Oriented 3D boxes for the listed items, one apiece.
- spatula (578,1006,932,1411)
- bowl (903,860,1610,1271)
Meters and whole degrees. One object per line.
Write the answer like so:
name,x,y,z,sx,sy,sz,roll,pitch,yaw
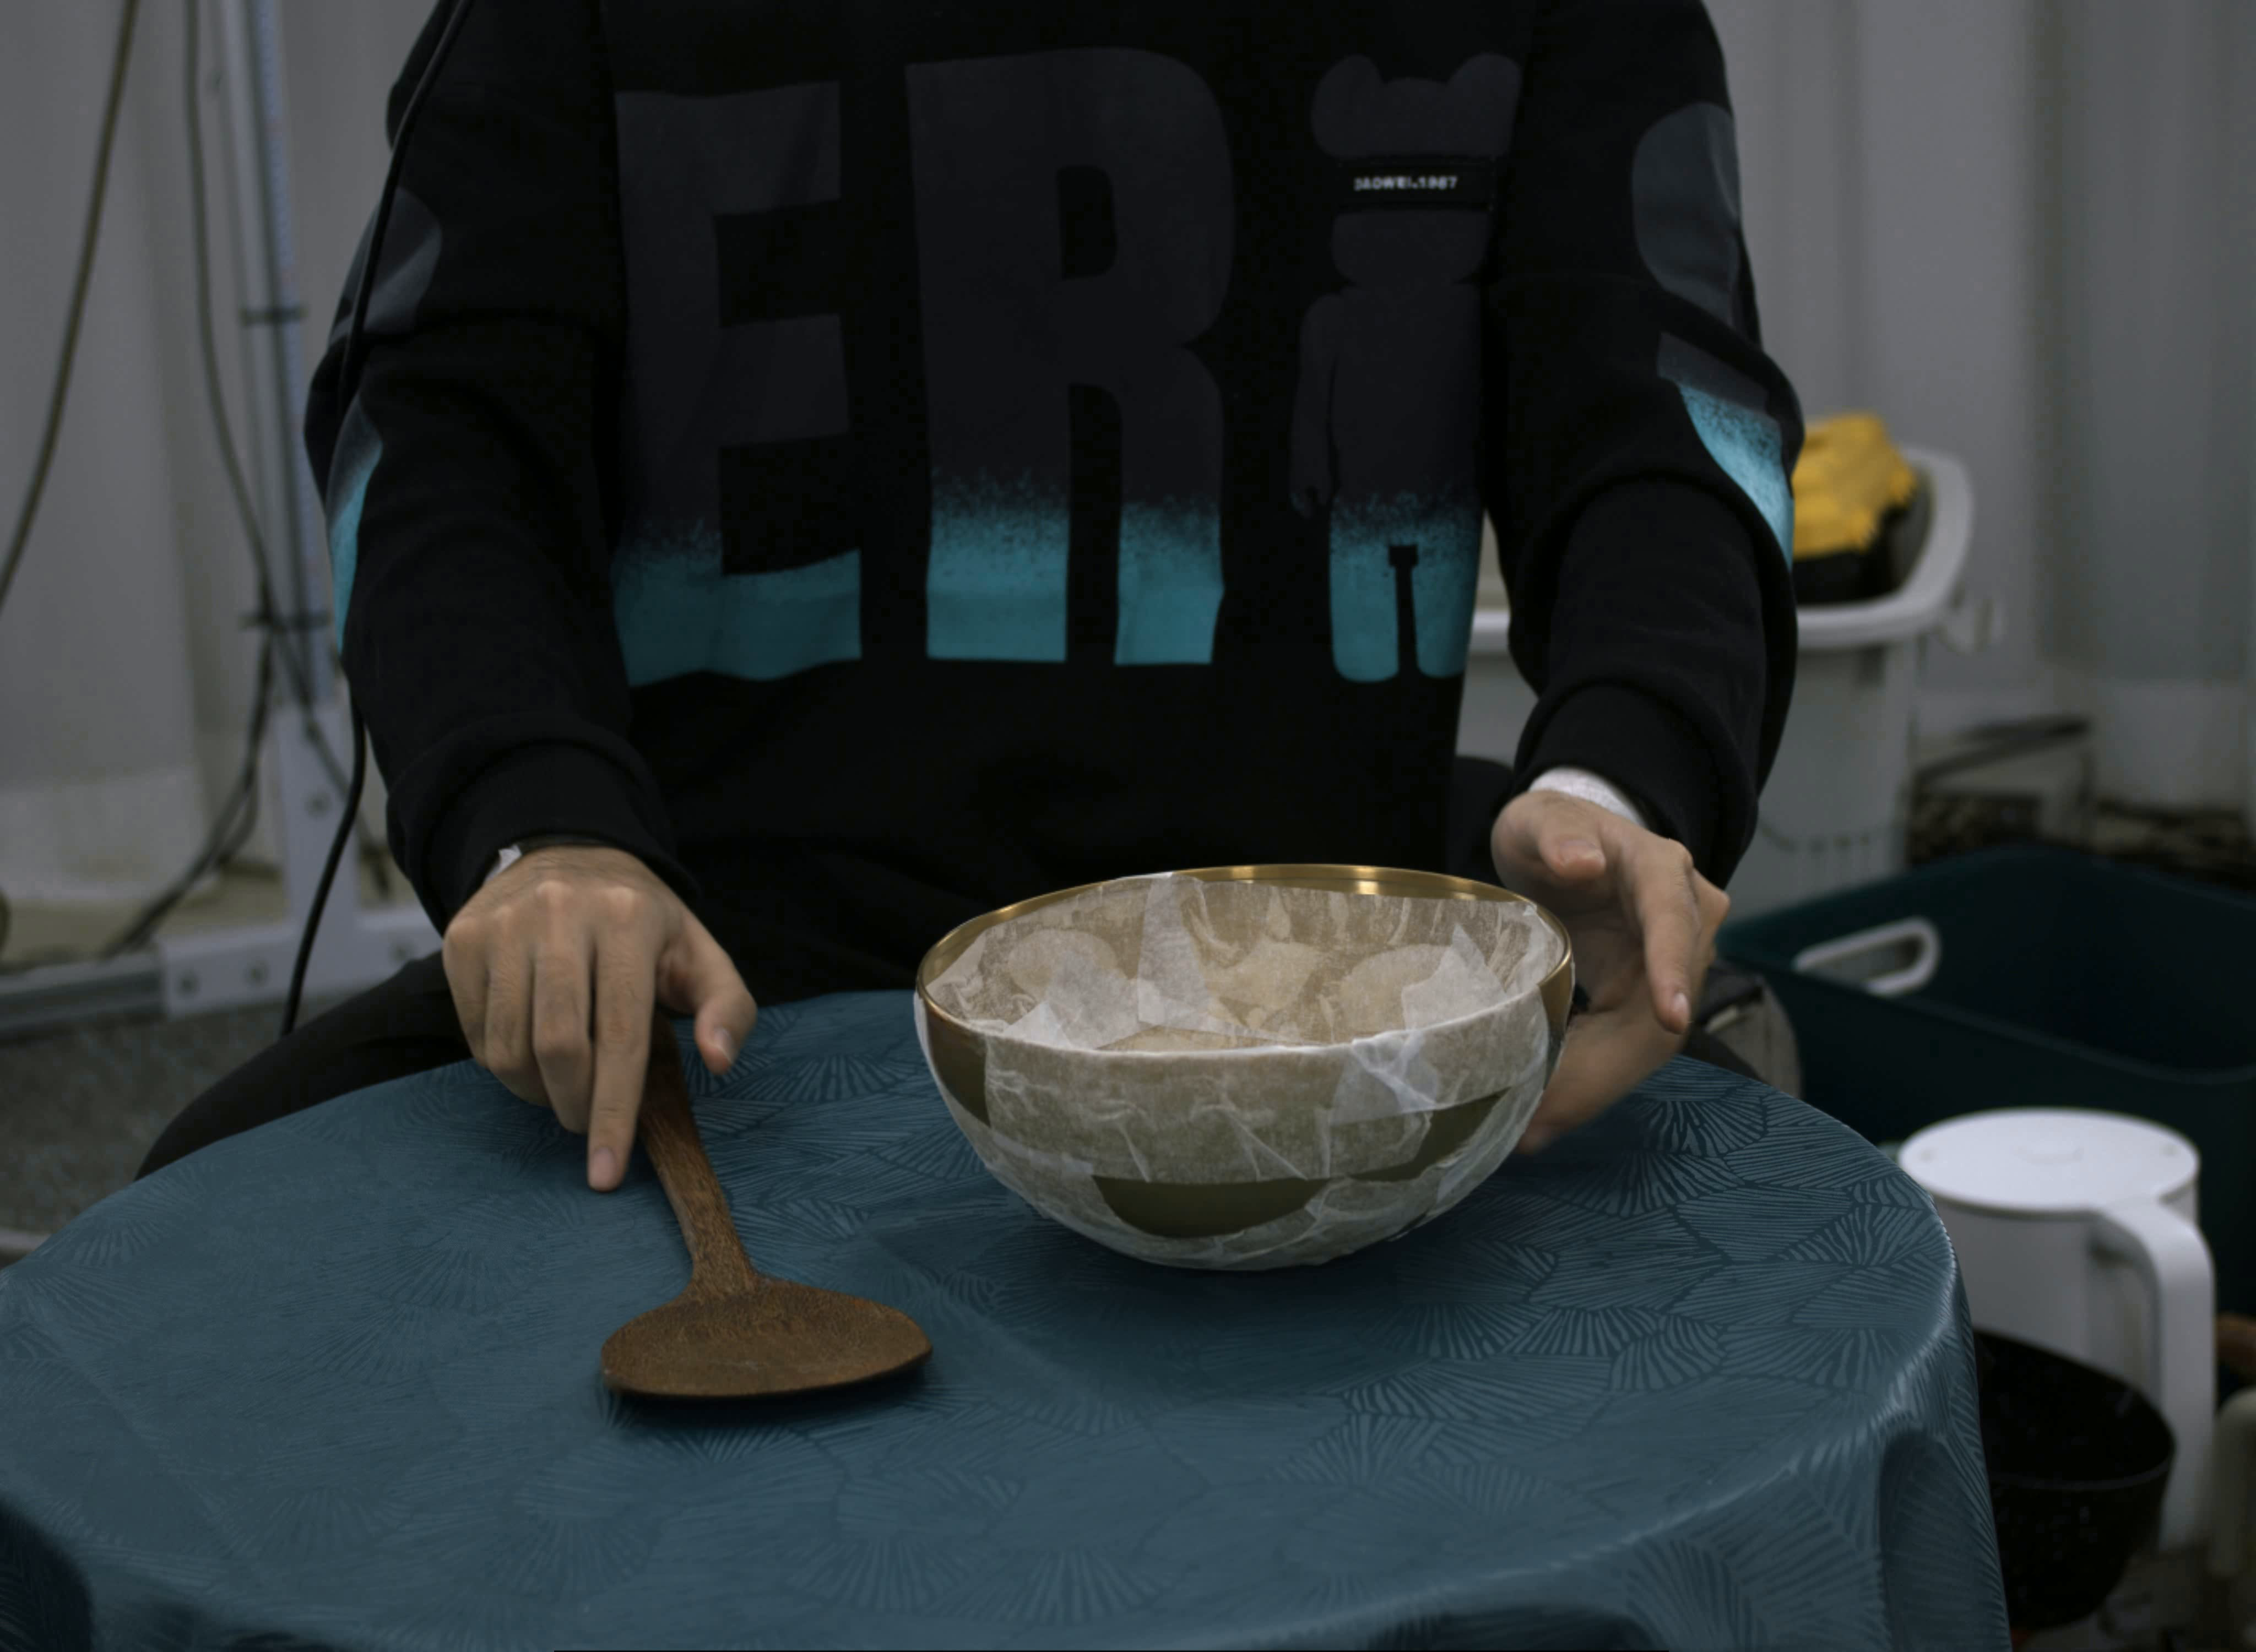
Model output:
spatula,-0.137,0.113,1.712,0.095,0.016,0.389,-5,16,-11
bowl,0.039,0.080,1.658,0.214,0.094,0.216,-4,13,1
